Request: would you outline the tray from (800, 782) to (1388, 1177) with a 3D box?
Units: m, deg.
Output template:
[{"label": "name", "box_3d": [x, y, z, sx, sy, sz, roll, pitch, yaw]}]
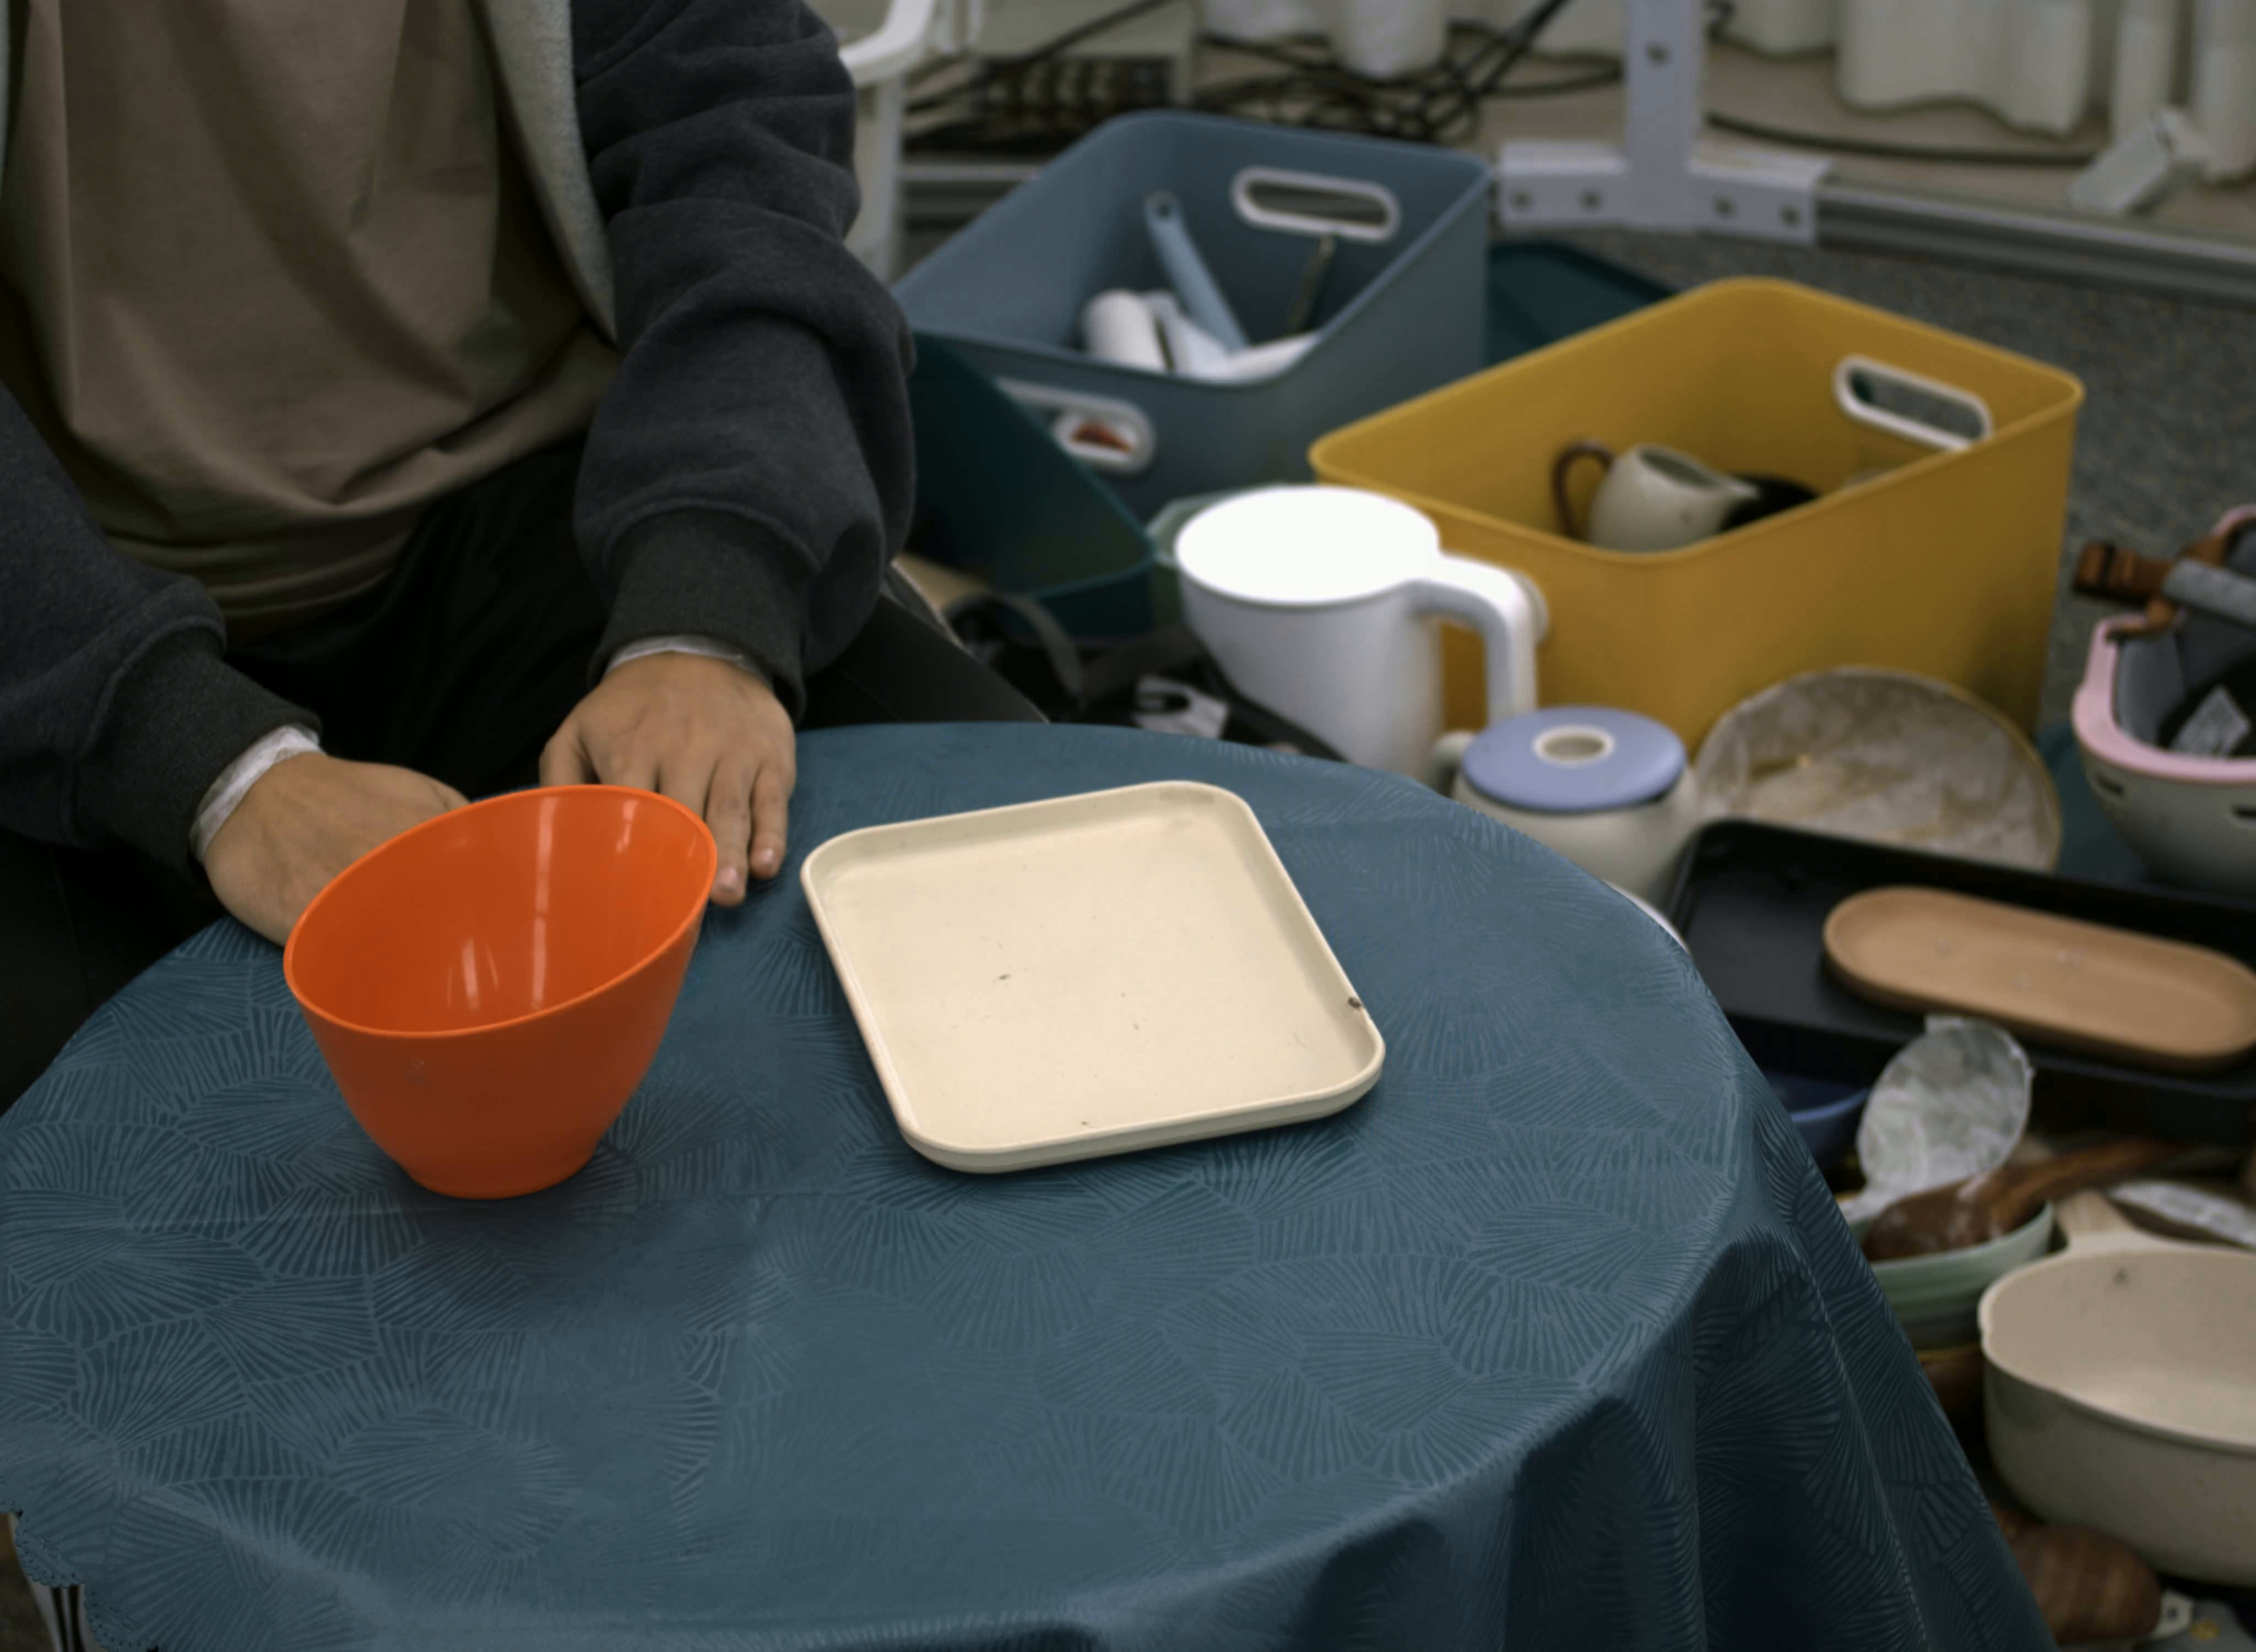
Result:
[{"label": "tray", "box_3d": [-0.015, 0.053, 1.978, 0.171, 0.017, 0.242, -9, 28, -11]}]

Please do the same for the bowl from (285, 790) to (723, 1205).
[{"label": "bowl", "box_3d": [-0.206, 0.065, 1.885, 0.147, 0.103, 0.150, -1, 28, 1]}]
